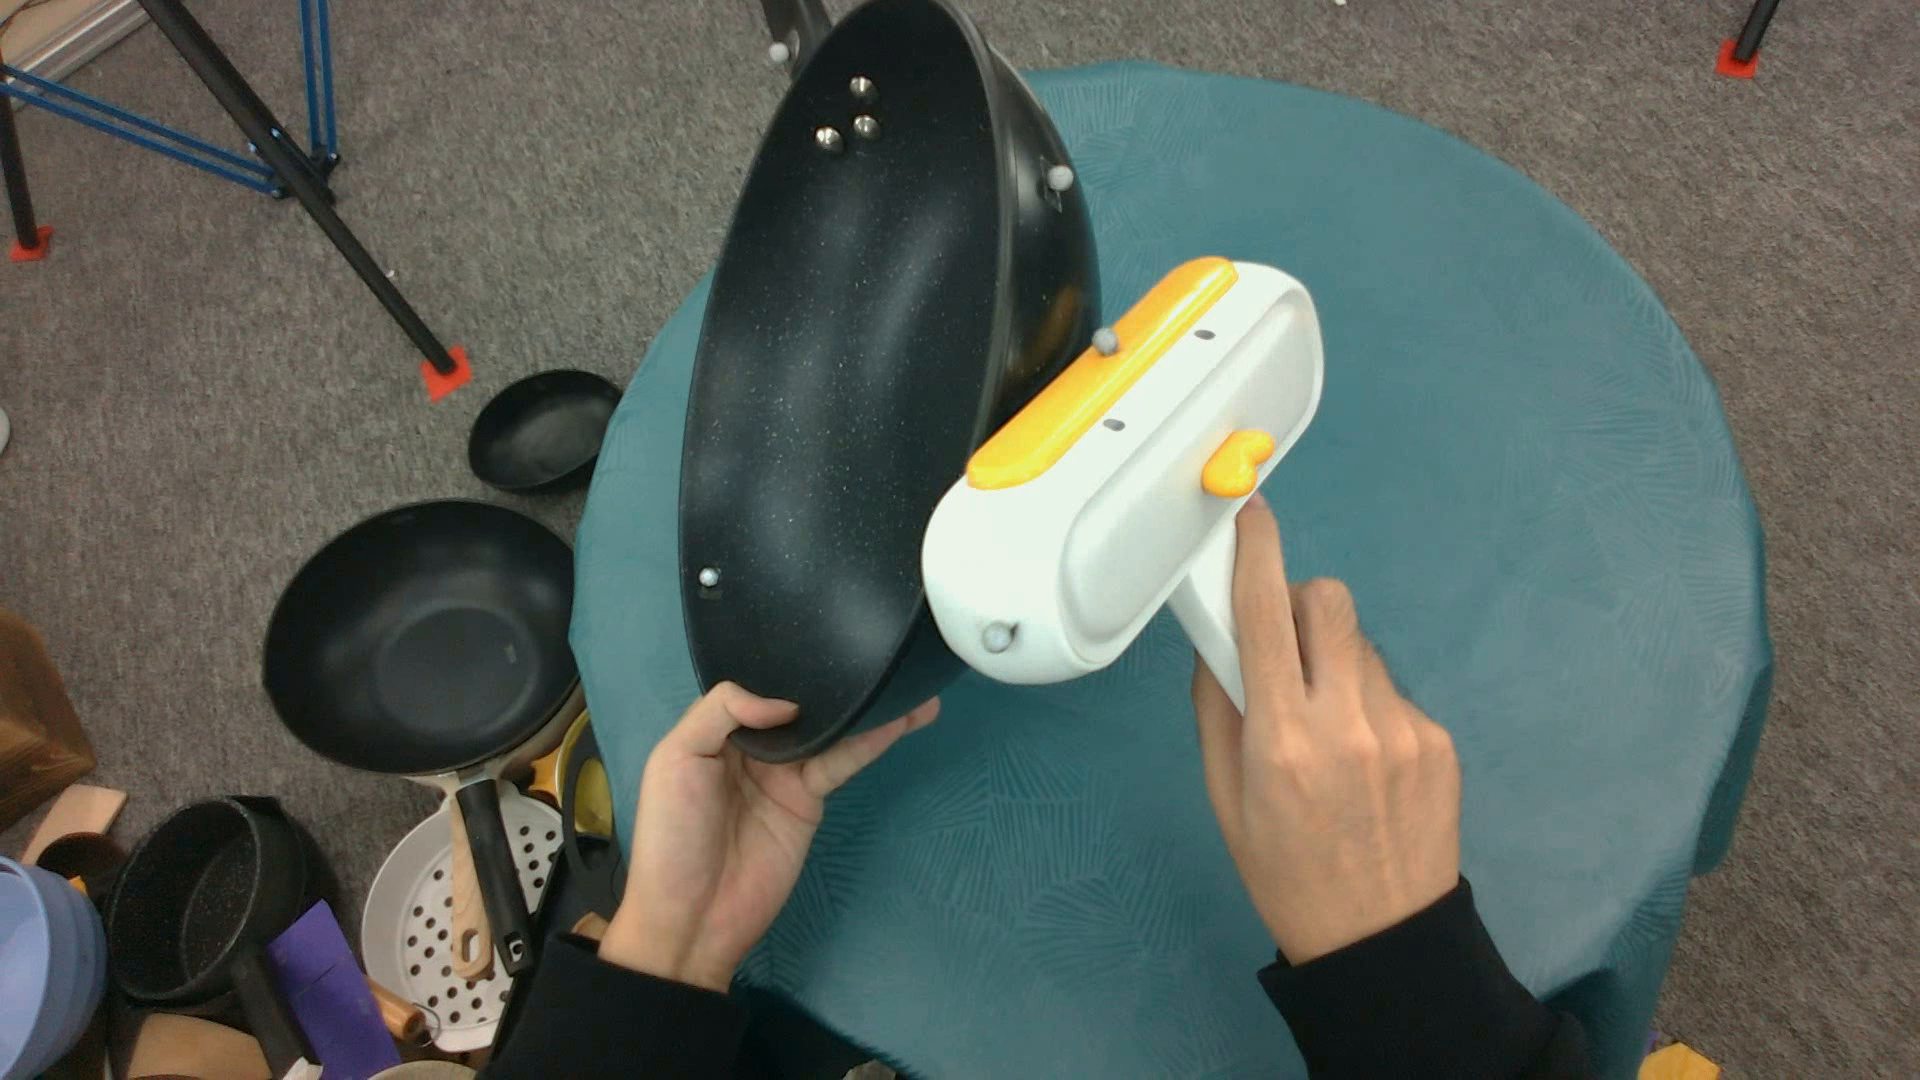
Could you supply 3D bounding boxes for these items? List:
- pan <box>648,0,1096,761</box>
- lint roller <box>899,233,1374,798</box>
[{"bbox_3d":[-0.052,-0.141,0.600,0.112,0.308,0.478,10,63,-32],"label":"pan"},{"bbox_3d":[0.082,0.013,0.467,0.074,0.192,0.194,-5,36,40],"label":"lint roller"}]
